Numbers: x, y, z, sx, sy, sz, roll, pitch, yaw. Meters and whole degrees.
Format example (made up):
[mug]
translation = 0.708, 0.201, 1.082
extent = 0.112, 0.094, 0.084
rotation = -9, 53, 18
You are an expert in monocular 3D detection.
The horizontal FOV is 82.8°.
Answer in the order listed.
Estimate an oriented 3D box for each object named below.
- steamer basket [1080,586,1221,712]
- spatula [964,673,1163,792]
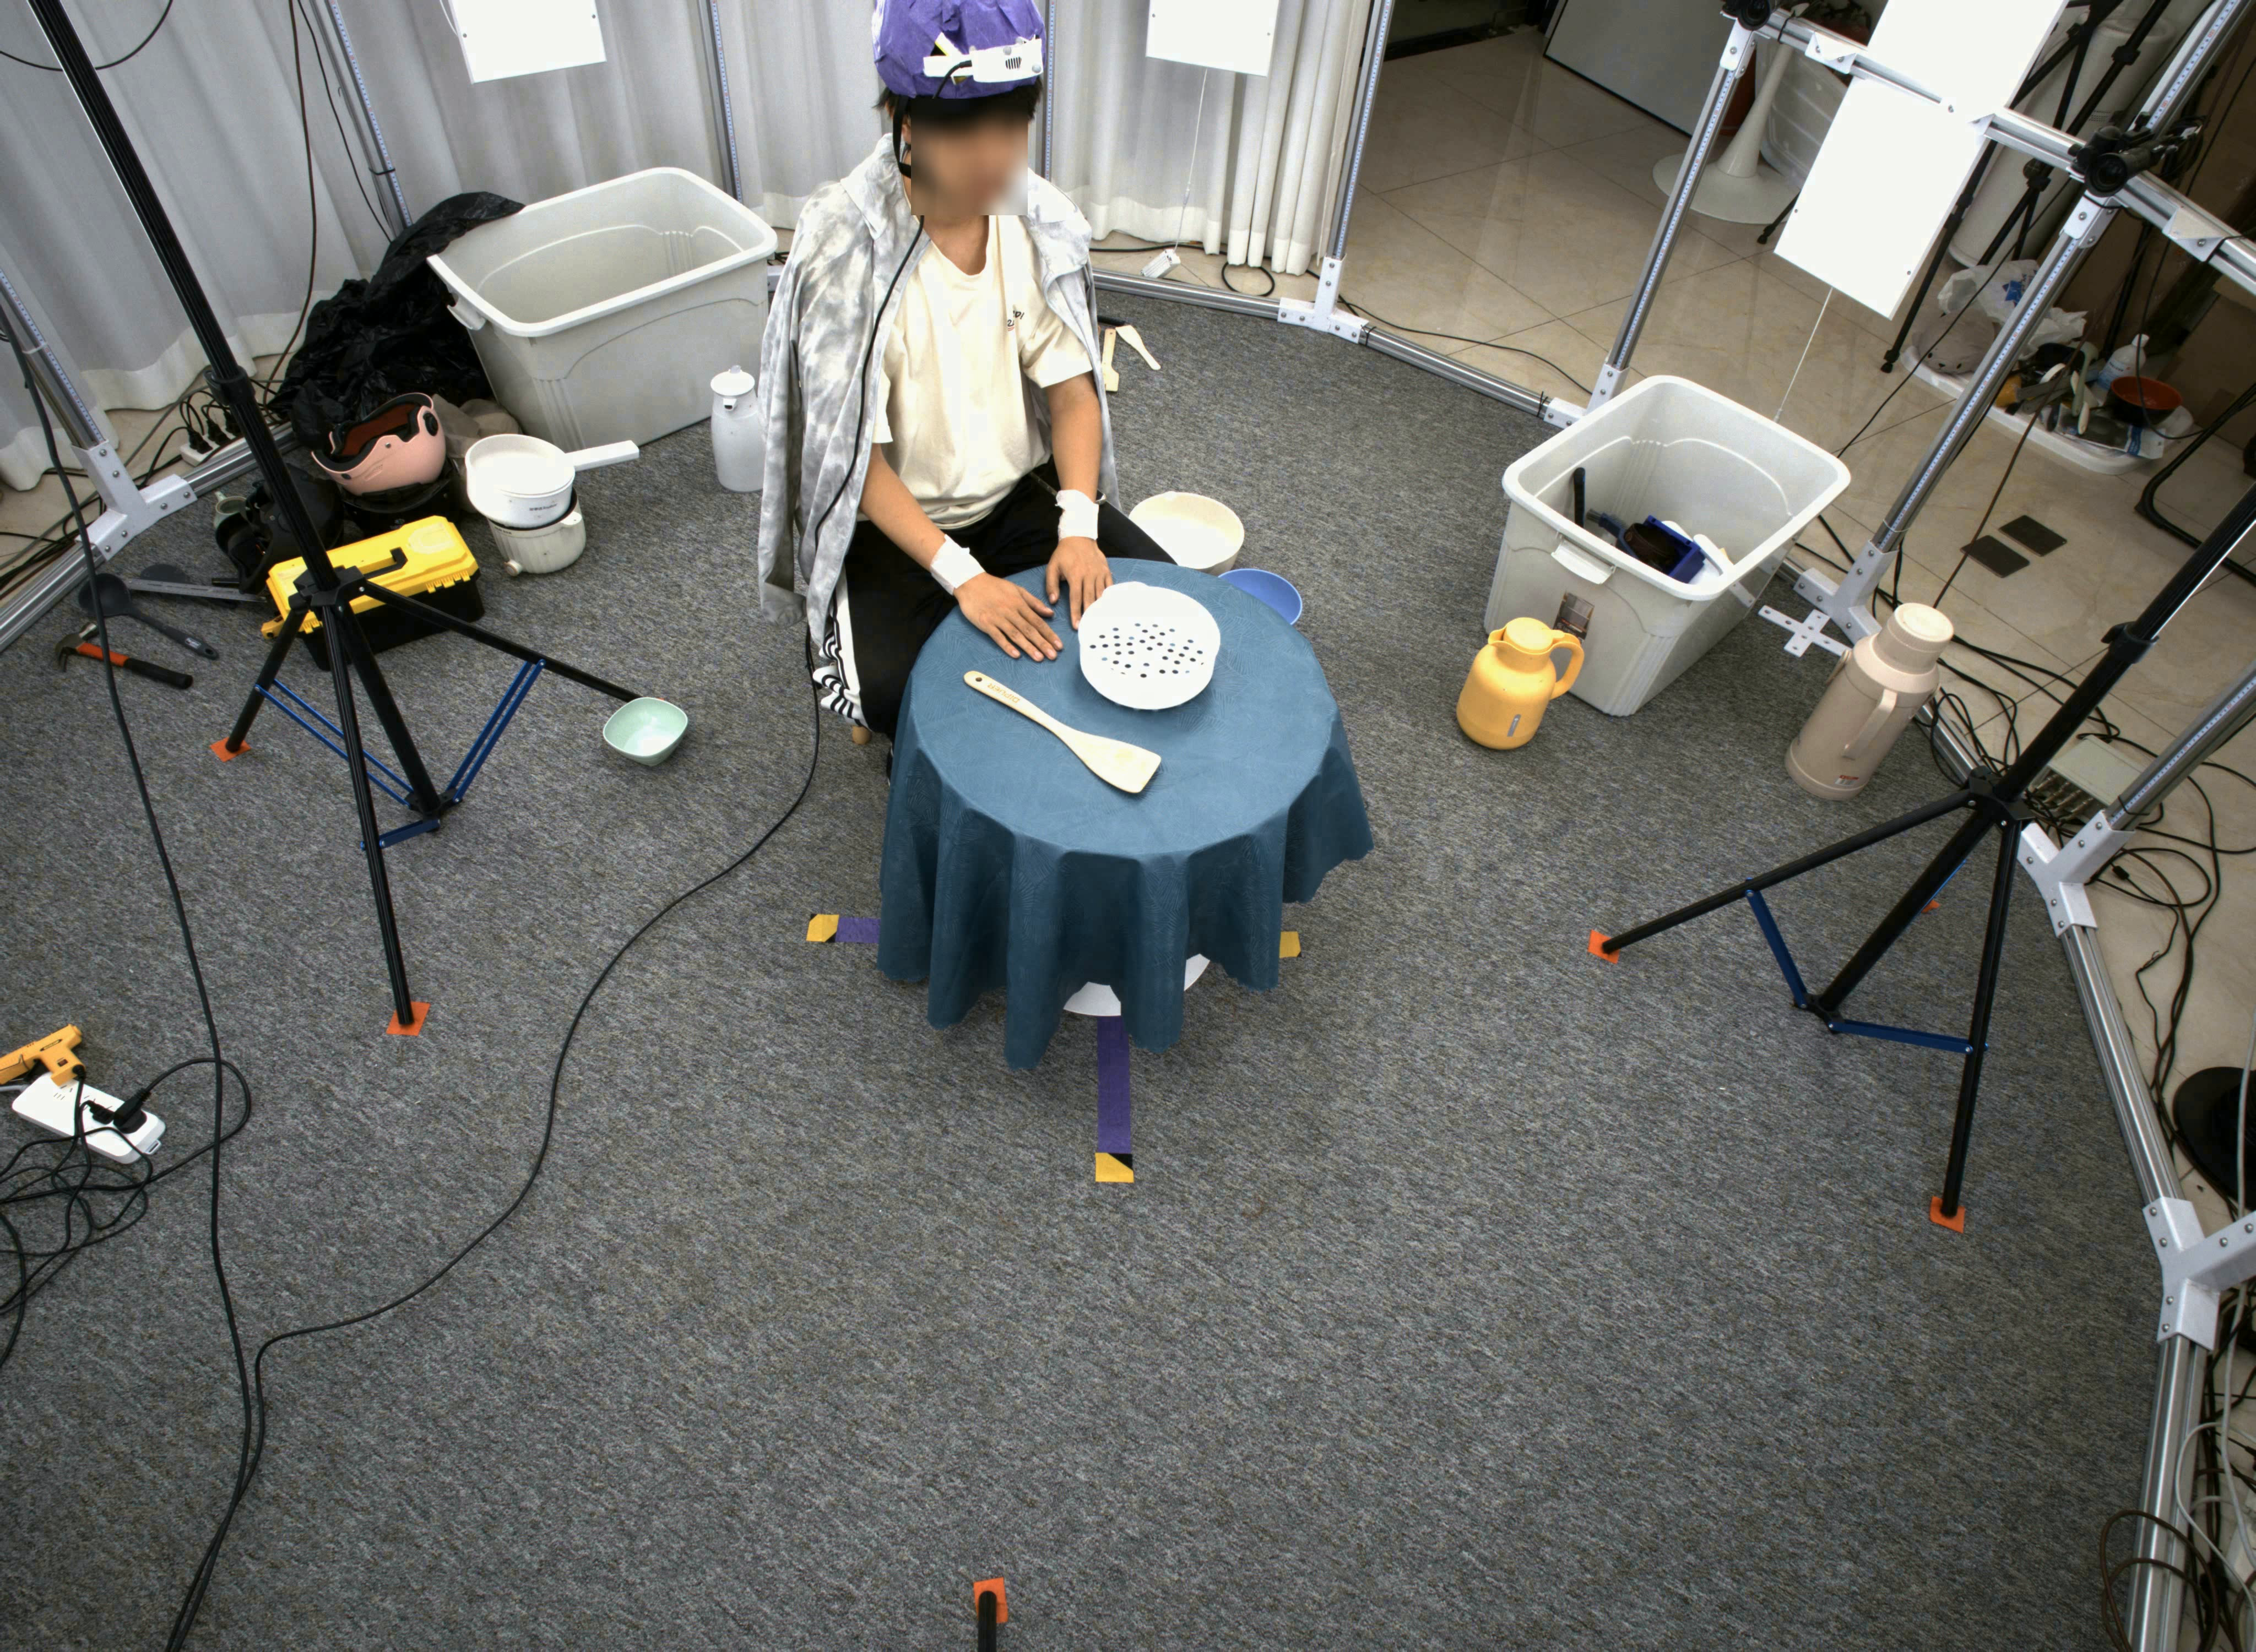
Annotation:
[steamer basket]
translation = 0.030, -0.250, 1.838
extent = 0.202, 0.067, 0.236
rotation = -12, 50, -16
[spatula]
translation = -0.095, -0.139, 1.763
extent = 0.331, 0.016, 0.081
rotation = 30, 53, 22
